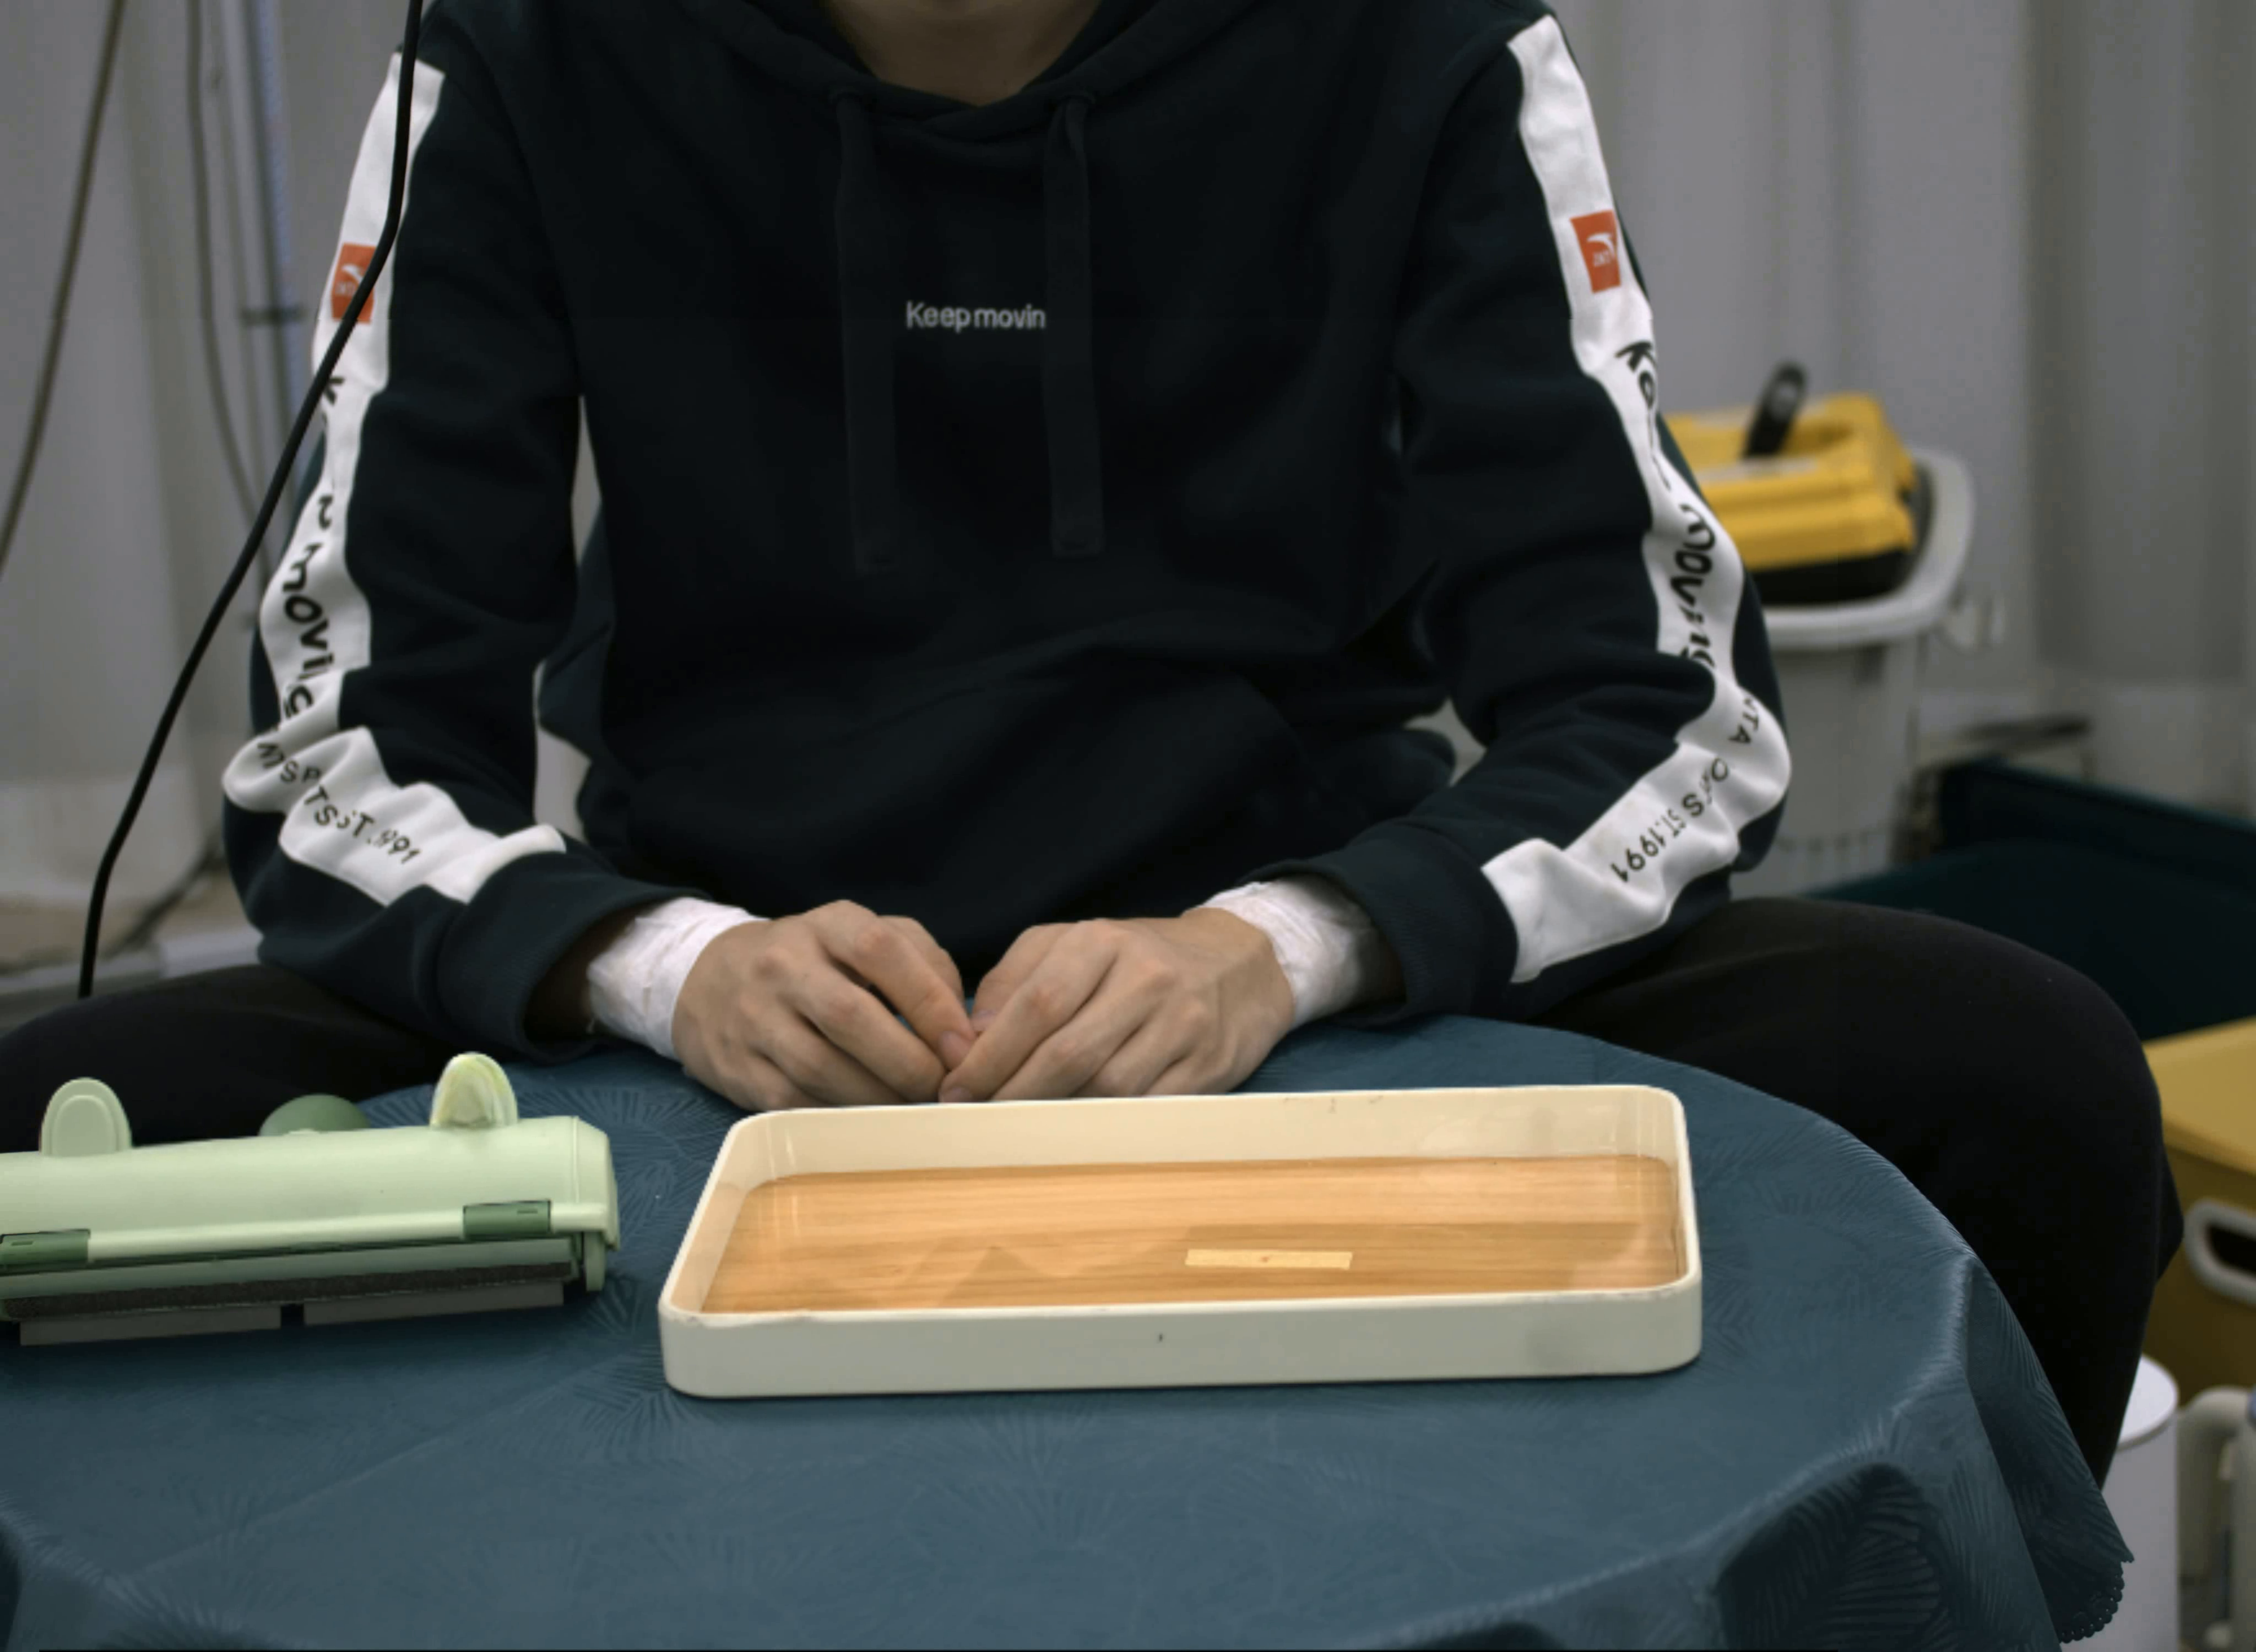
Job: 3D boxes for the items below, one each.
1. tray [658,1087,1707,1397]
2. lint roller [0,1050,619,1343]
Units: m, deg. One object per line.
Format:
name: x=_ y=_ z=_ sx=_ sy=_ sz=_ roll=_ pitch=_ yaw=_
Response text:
tray: x=0.019 y=0.123 z=1.629 sx=0.299 sy=0.027 sz=0.193 roll=-2 pitch=14 yaw=5
lint roller: x=-0.256 y=0.096 z=1.688 sx=0.198 sy=0.082 sz=0.185 roll=-4 pitch=19 yaw=-3
